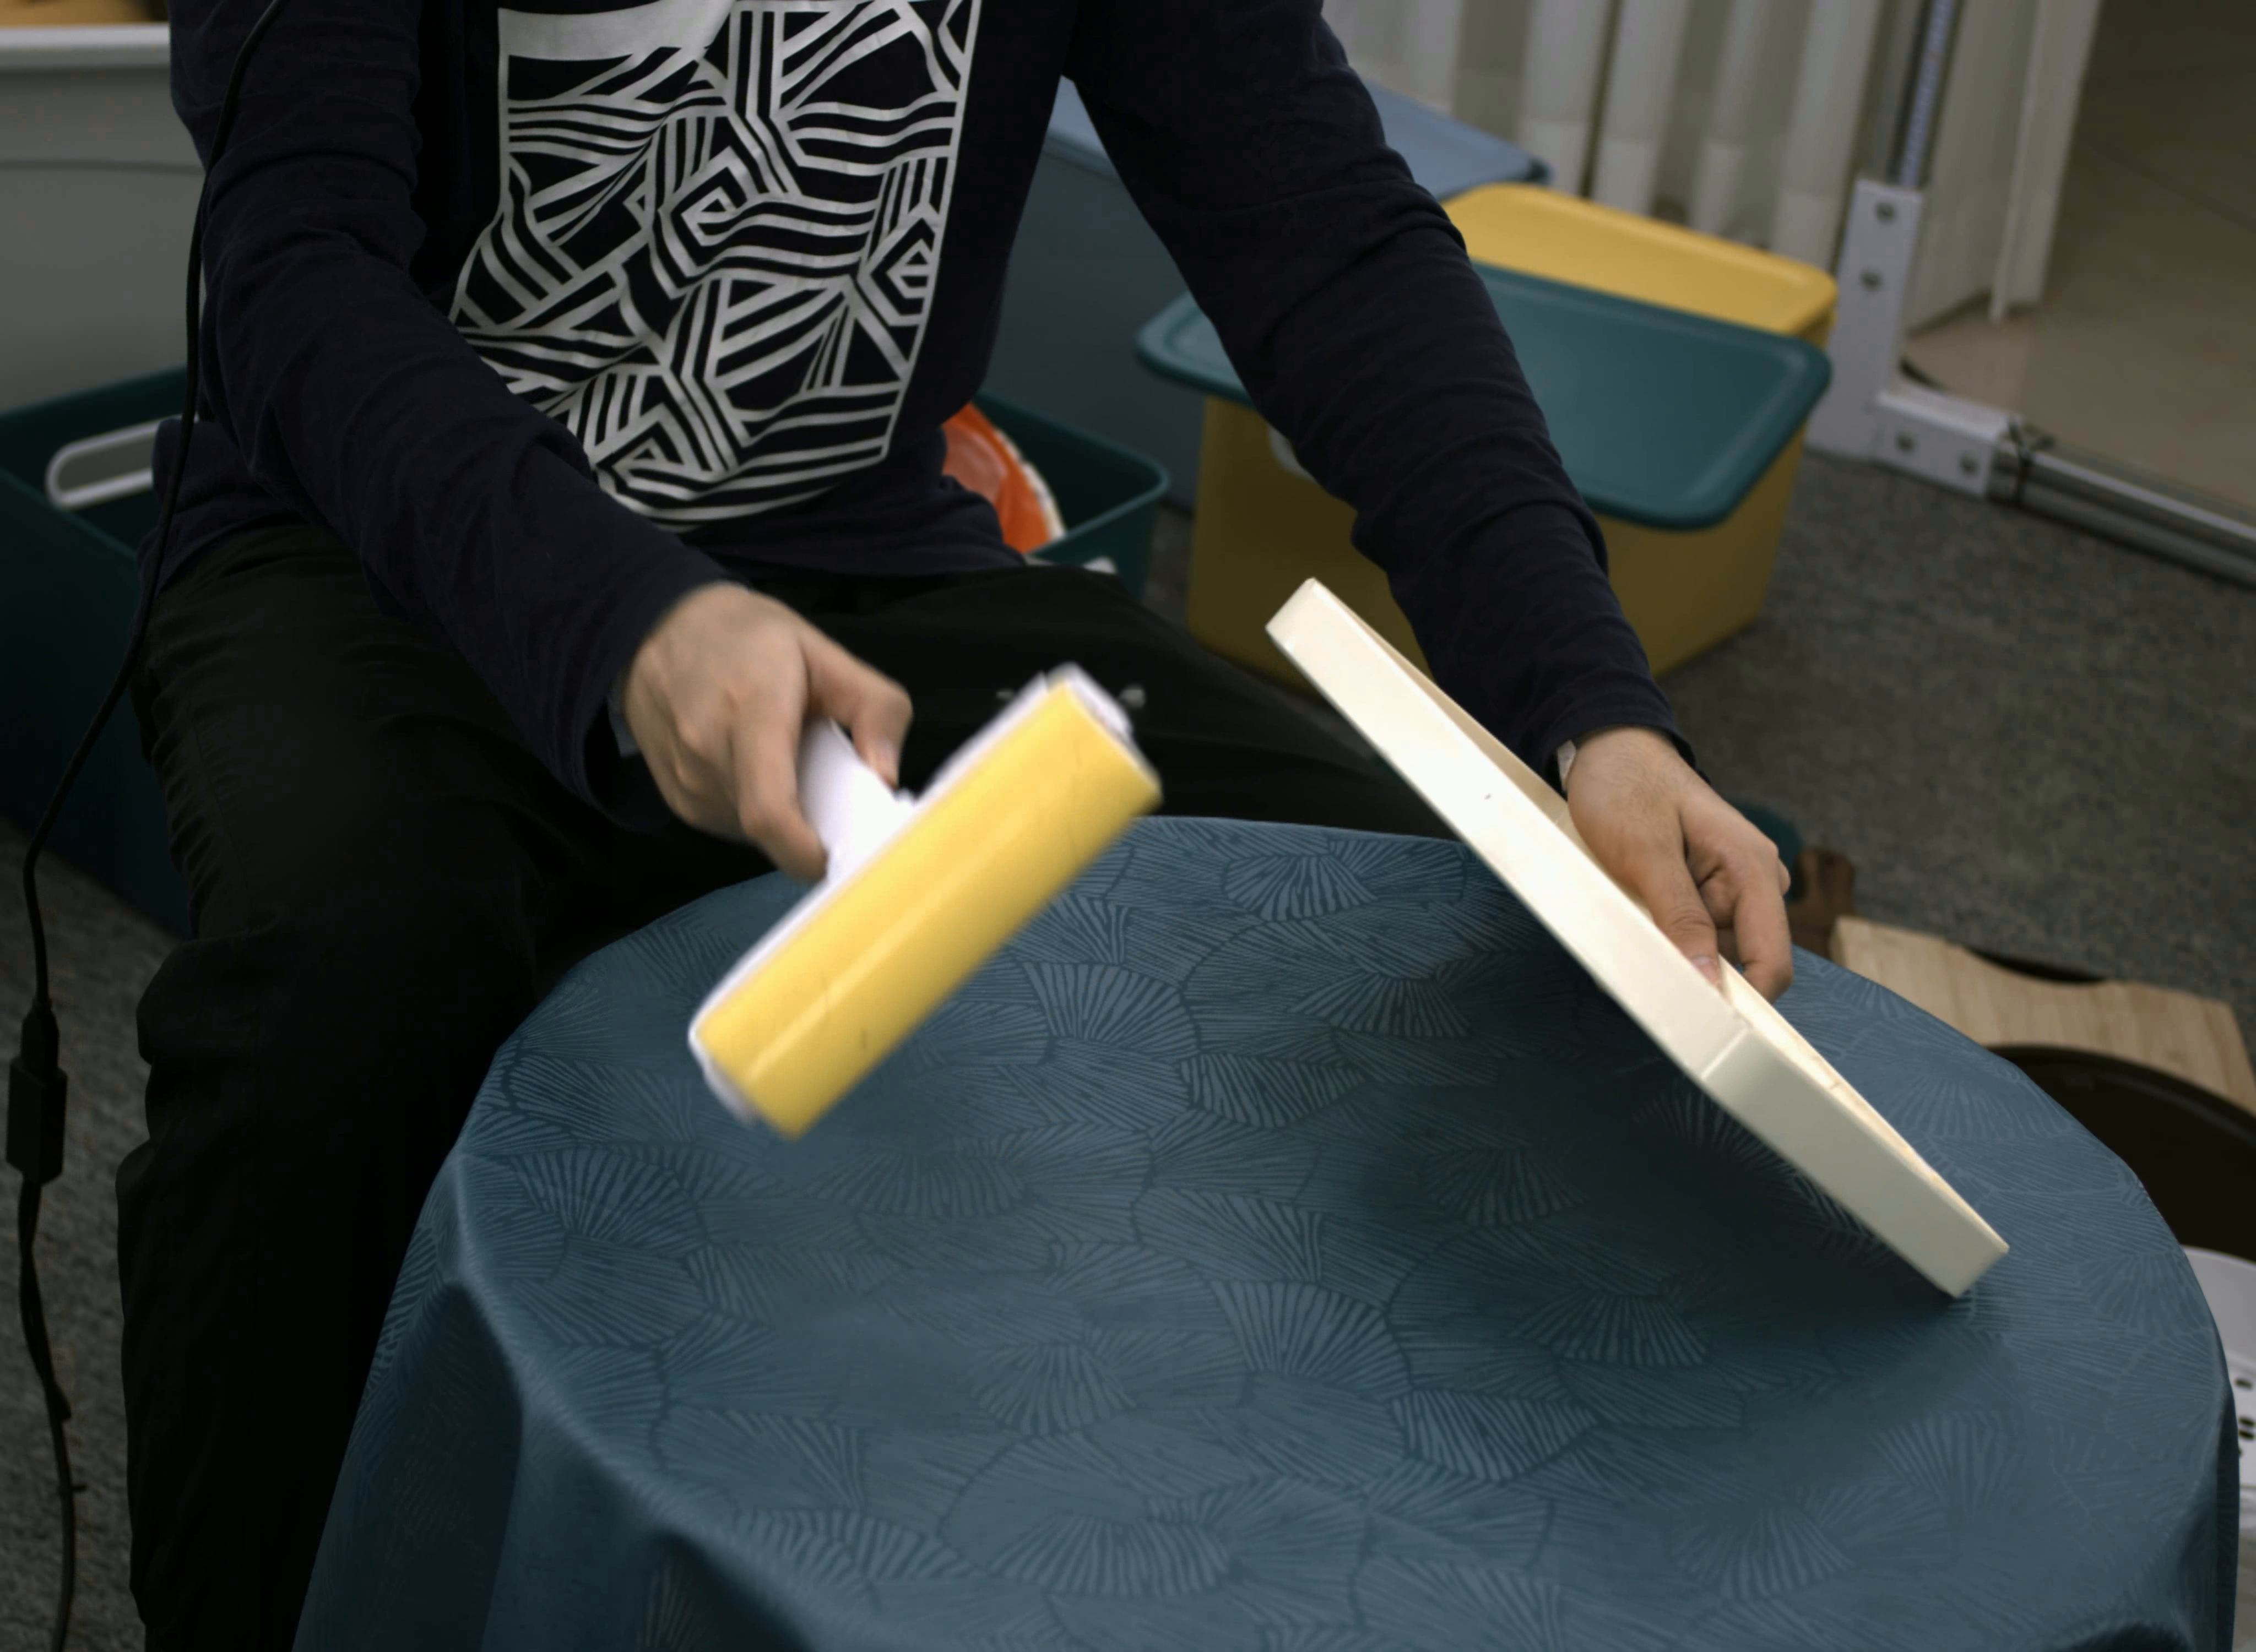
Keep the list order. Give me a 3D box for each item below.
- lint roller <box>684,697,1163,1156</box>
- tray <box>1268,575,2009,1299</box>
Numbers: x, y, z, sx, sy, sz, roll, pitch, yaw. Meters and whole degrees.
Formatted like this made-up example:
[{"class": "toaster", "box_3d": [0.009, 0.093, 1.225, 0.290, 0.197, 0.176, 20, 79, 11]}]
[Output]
[{"class": "lint roller", "box_3d": [-0.094, 0.002, 1.731, 0.174, 0.051, 0.194, -43, 39, 0]}, {"class": "tray", "box_3d": [0.172, 0.036, 1.835, 0.190, 0.027, 0.303, 39, 7, -44]}]
